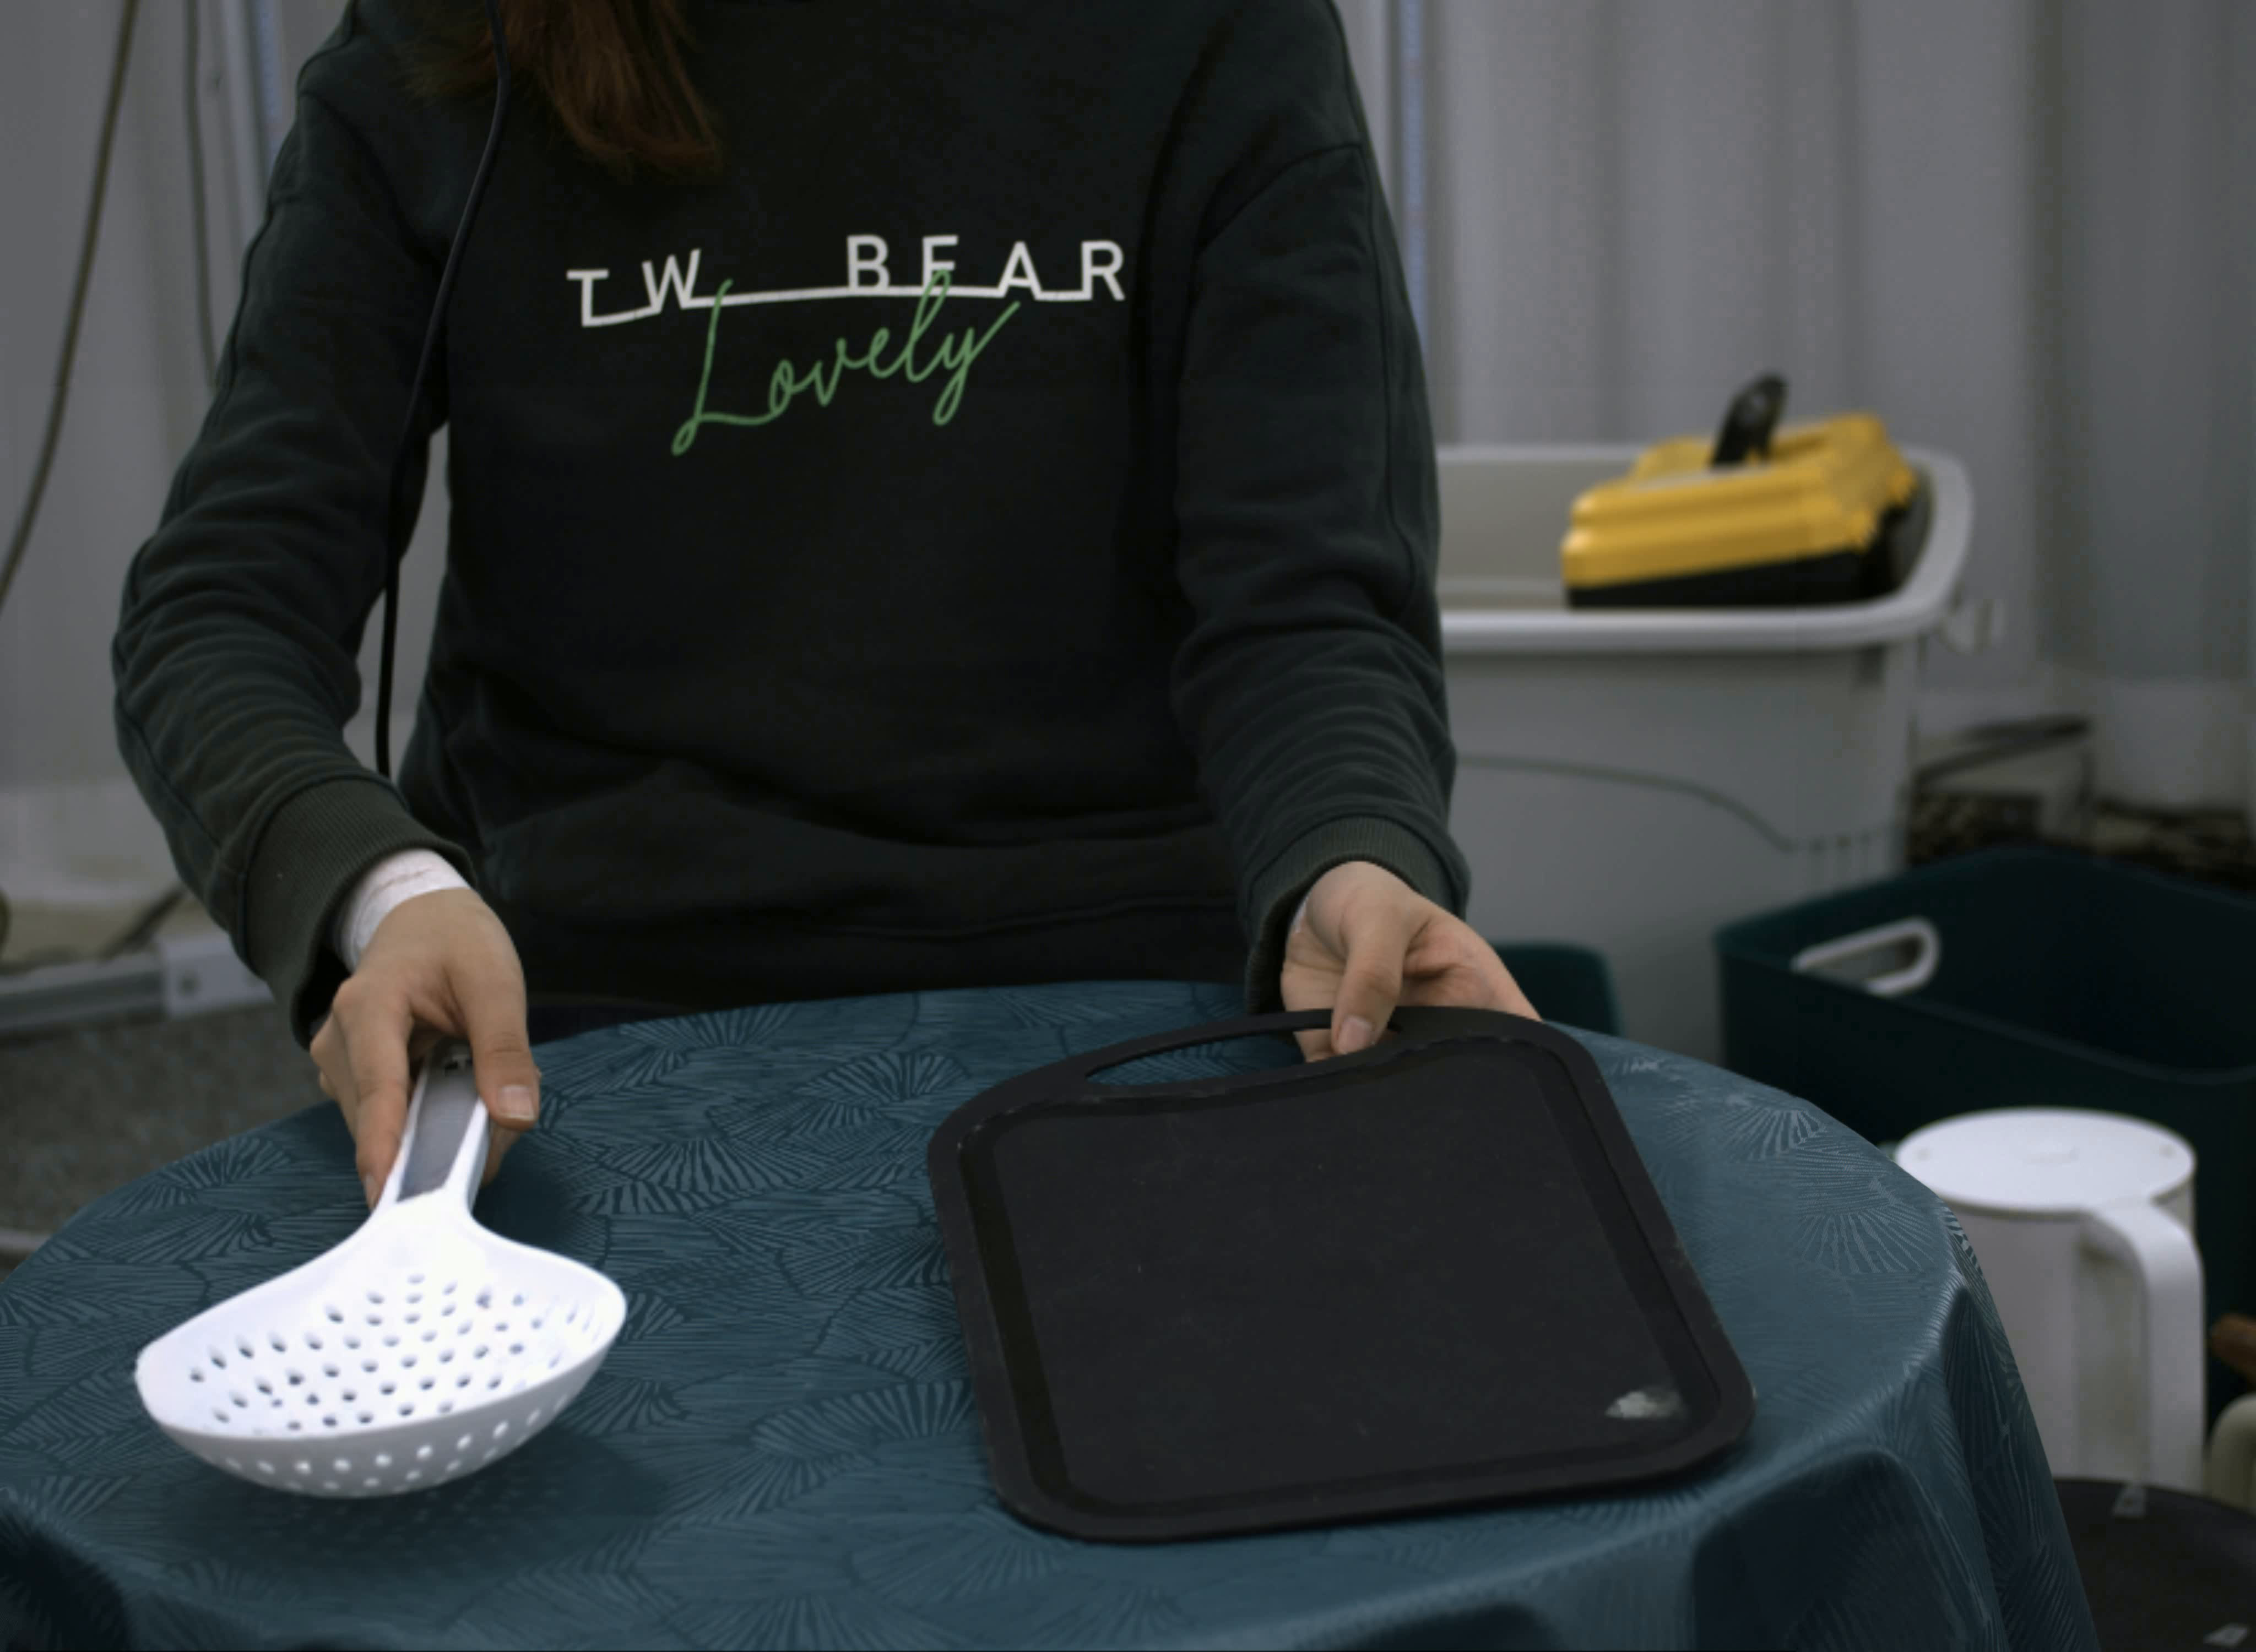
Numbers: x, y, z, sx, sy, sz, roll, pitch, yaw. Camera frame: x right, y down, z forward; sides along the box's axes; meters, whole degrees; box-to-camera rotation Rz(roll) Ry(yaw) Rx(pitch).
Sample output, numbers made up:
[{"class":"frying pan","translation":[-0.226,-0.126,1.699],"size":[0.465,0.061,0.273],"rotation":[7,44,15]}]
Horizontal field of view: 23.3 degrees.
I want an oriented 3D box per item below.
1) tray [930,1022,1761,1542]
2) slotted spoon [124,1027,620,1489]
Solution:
[{"class":"tray","translation":[0.054,0.123,1.587],"size":[0.210,0.010,0.329],"rotation":[-7,21,-4]},{"class":"slotted spoon","translation":[-0.208,0.118,1.596],"size":[0.135,0.045,0.353],"rotation":[-6,20,0]}]
